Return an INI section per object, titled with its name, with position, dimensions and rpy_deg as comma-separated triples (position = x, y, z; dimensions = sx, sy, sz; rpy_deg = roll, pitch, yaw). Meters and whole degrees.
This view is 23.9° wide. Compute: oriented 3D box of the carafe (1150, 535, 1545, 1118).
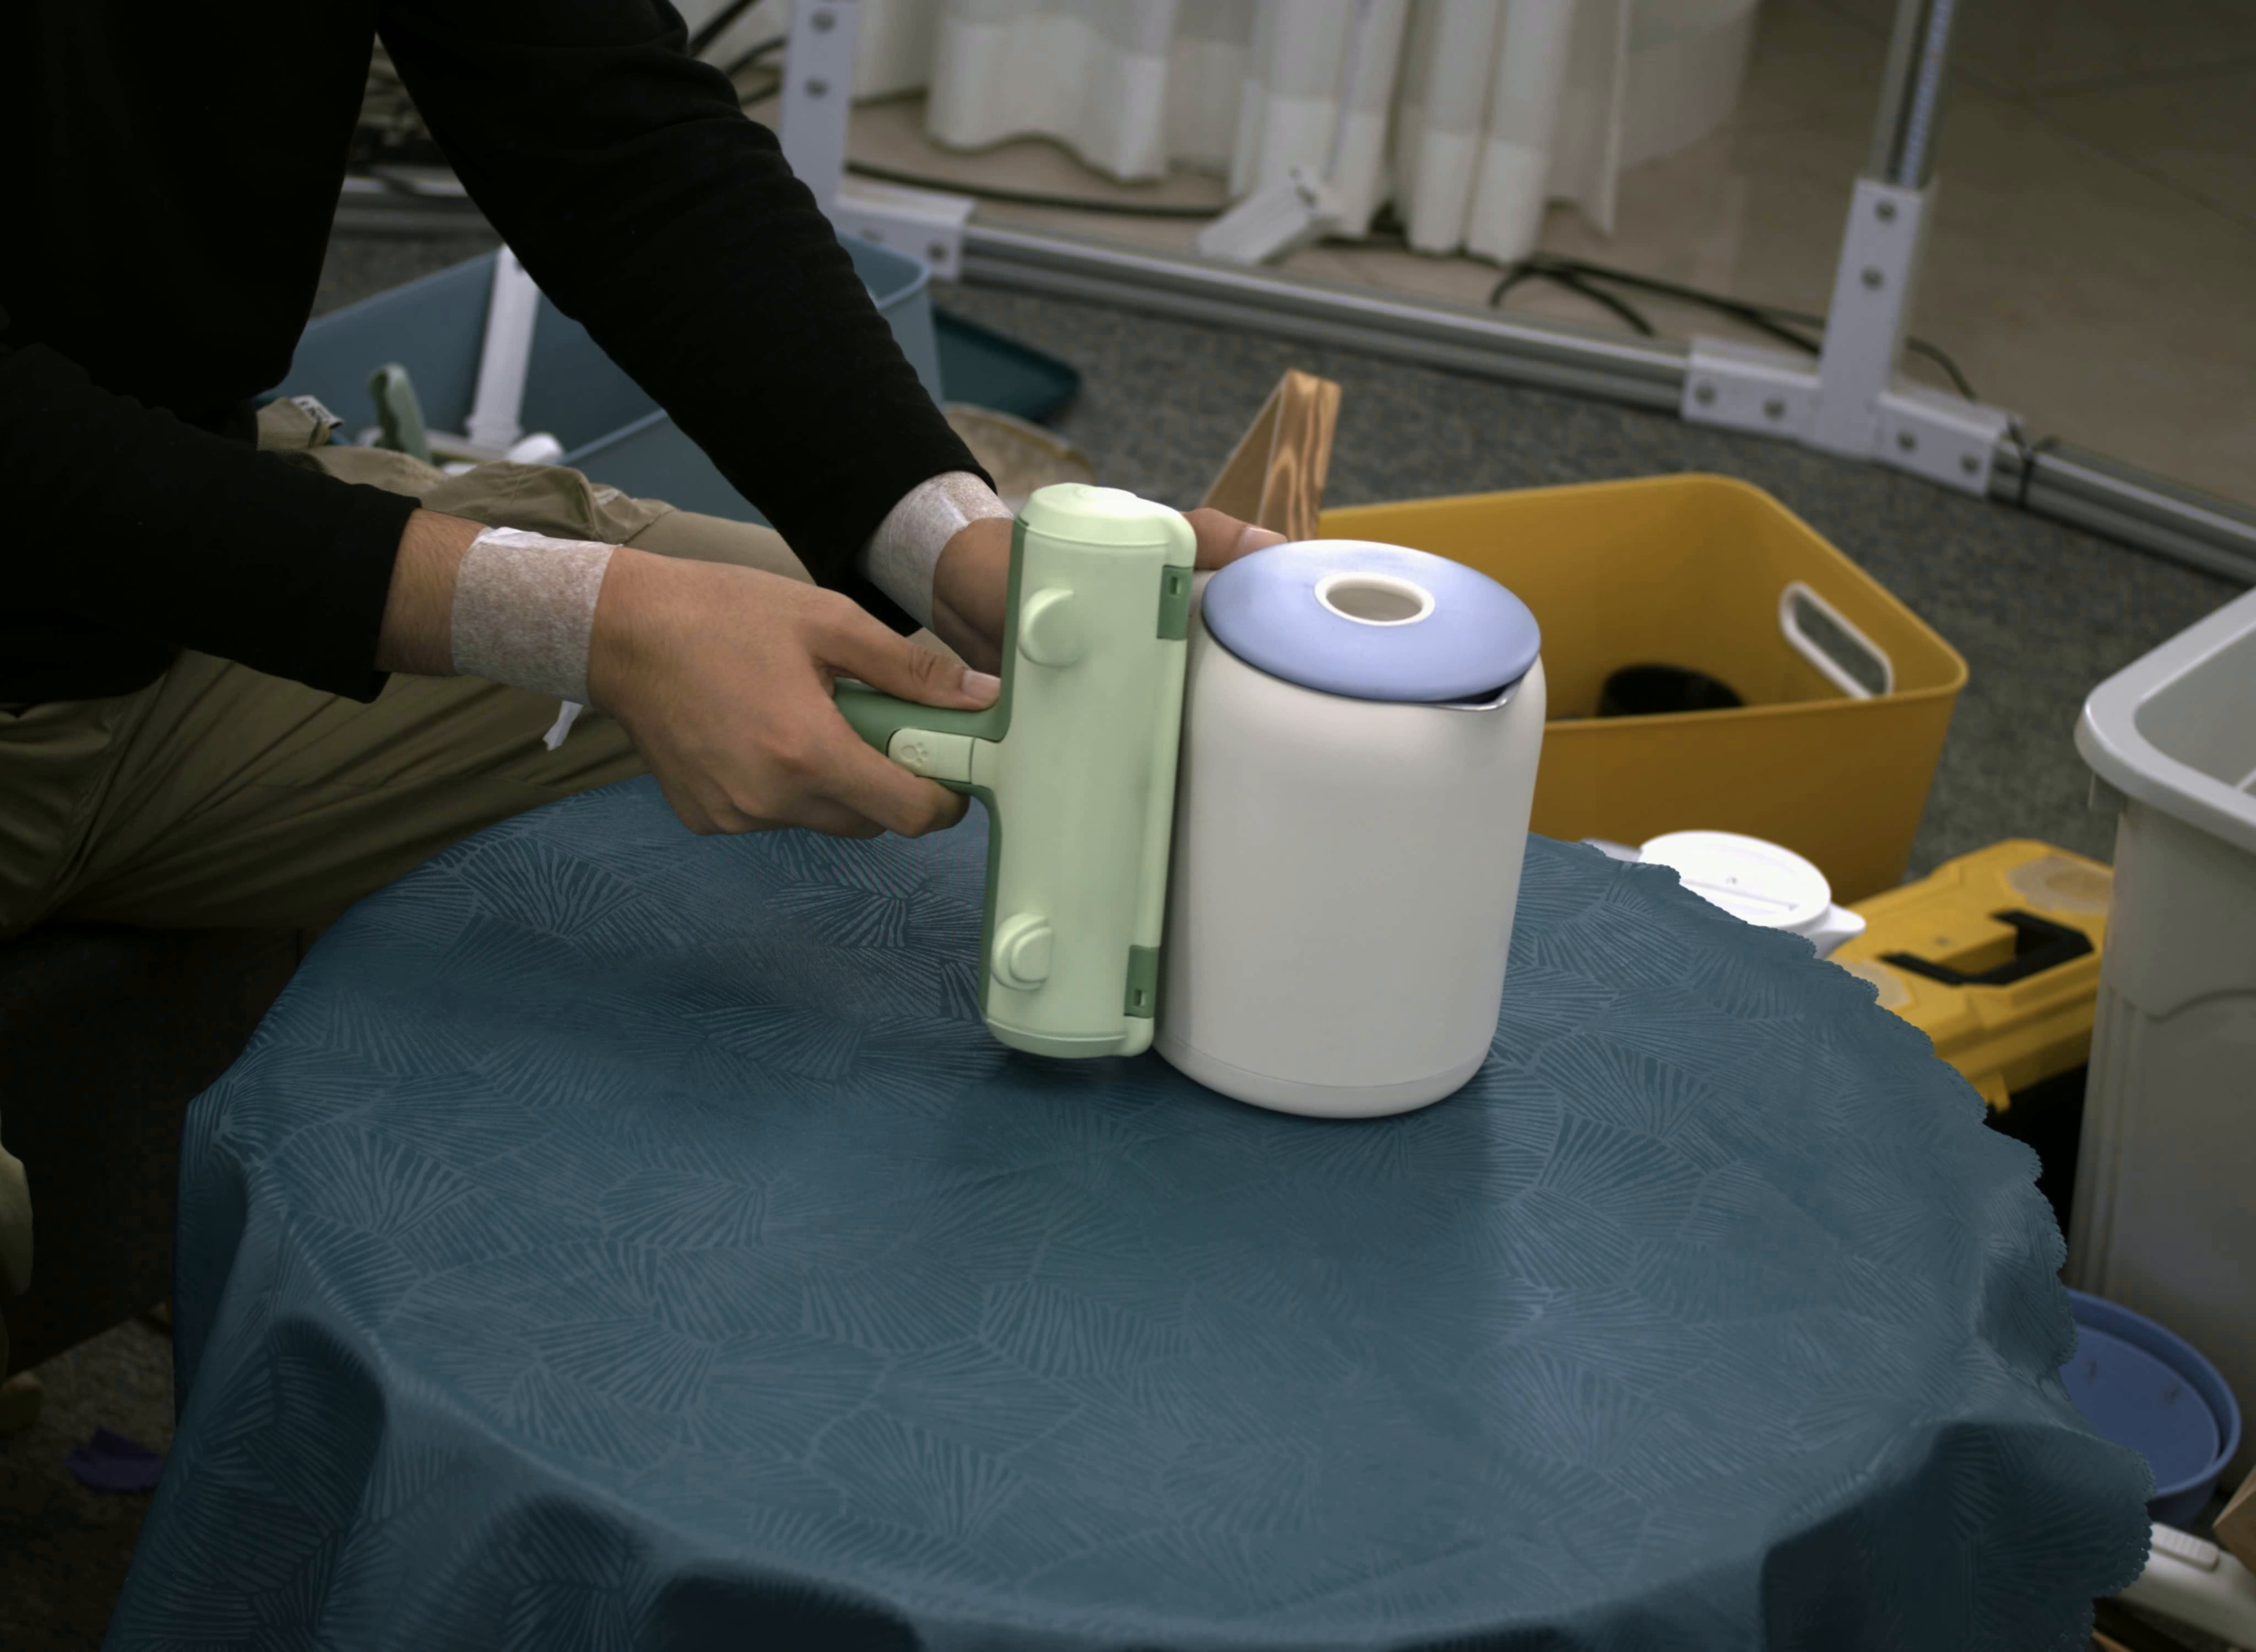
[carafe]
position = 0.059, -0.010, 1.888
dimensions = 0.131, 0.182, 0.192
rpy_deg = -14, 32, -37

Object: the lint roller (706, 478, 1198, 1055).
[lint roller]
position = -0.070, -0.026, 1.853
dimensions = 0.183, 0.198, 0.082
rpy_deg = 8, 17, 13
